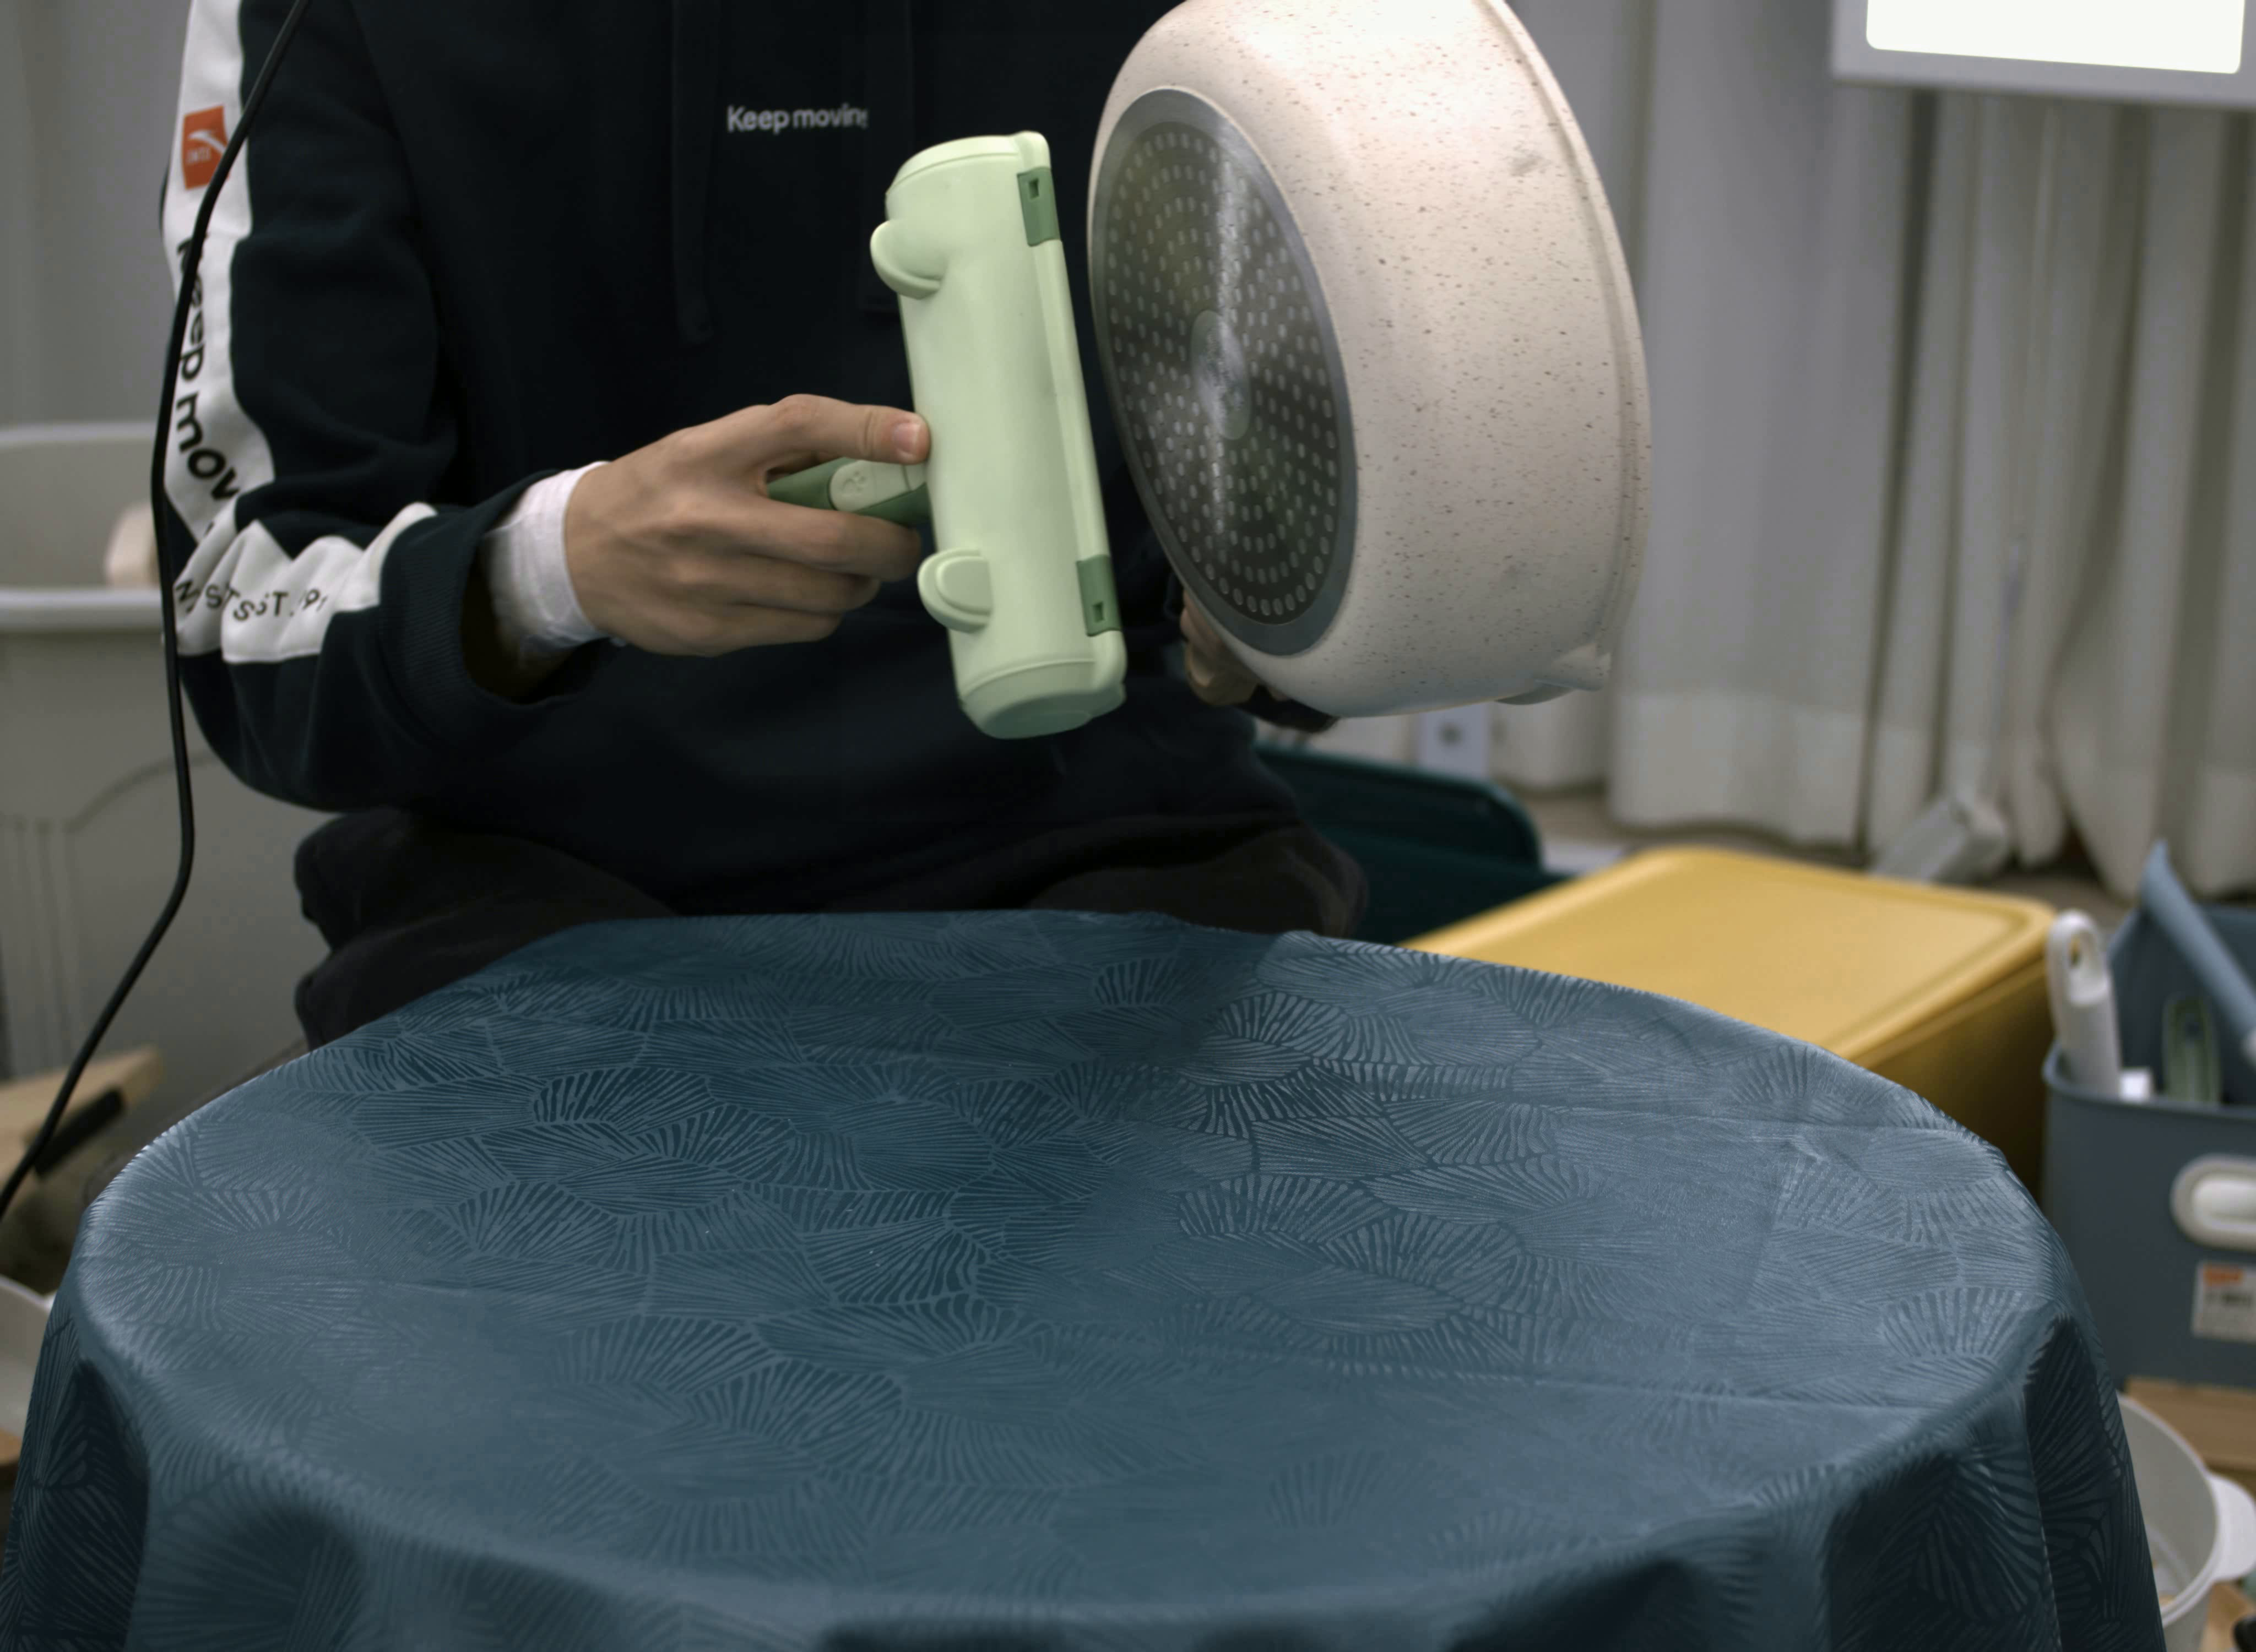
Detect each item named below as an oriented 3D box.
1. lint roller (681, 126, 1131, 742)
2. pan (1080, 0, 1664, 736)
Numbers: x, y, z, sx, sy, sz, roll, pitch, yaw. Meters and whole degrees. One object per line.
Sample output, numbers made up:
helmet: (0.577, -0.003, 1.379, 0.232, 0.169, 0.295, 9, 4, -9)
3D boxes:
lint roller: (-0.090, -0.113, 1.728, 0.182, 0.198, 0.083, -17, -16, 27)
pan: (0.048, -0.115, 1.734, 0.102, 0.262, 0.435, -19, -14, -22)
